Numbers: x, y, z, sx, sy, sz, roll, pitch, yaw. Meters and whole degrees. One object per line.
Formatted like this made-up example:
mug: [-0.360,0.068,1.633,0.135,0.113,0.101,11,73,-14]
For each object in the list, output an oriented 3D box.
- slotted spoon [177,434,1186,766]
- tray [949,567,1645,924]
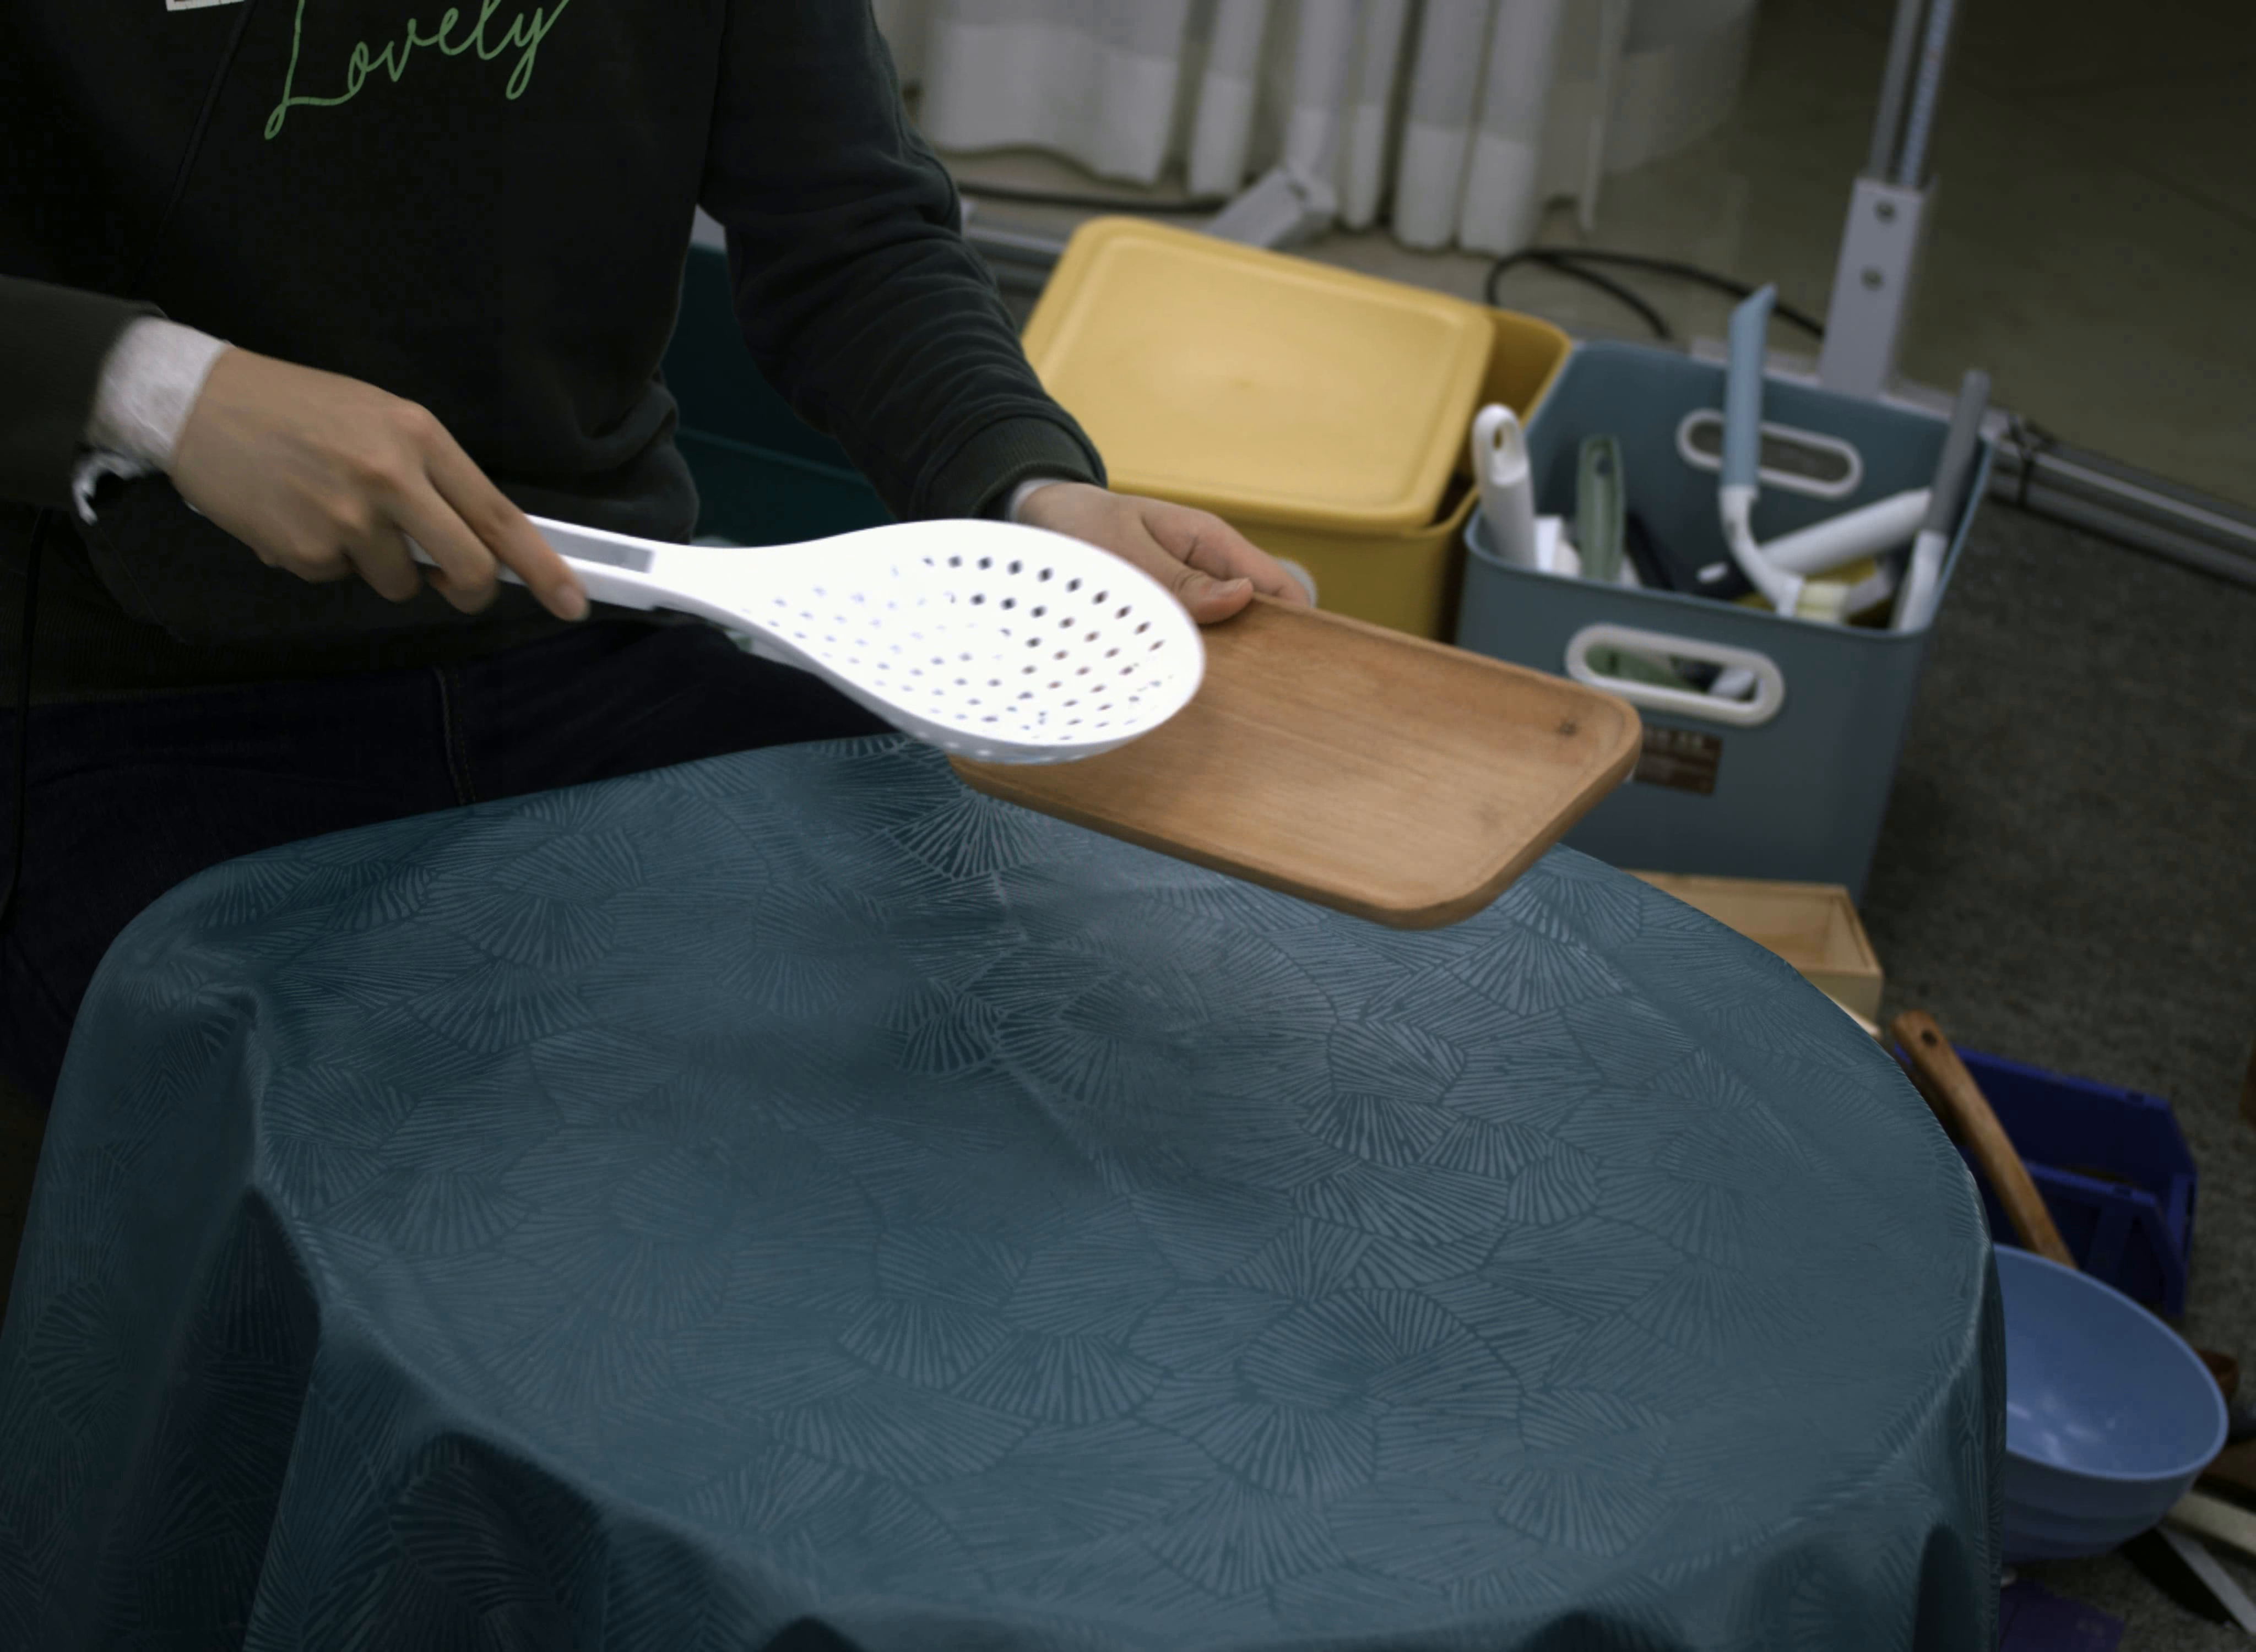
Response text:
slotted spoon: [-0.153,-0.084,1.821,0.348,0.045,0.137,17,31,-4]
tray: [0.056,-0.029,1.835,0.252,0.023,0.130,17,46,44]
